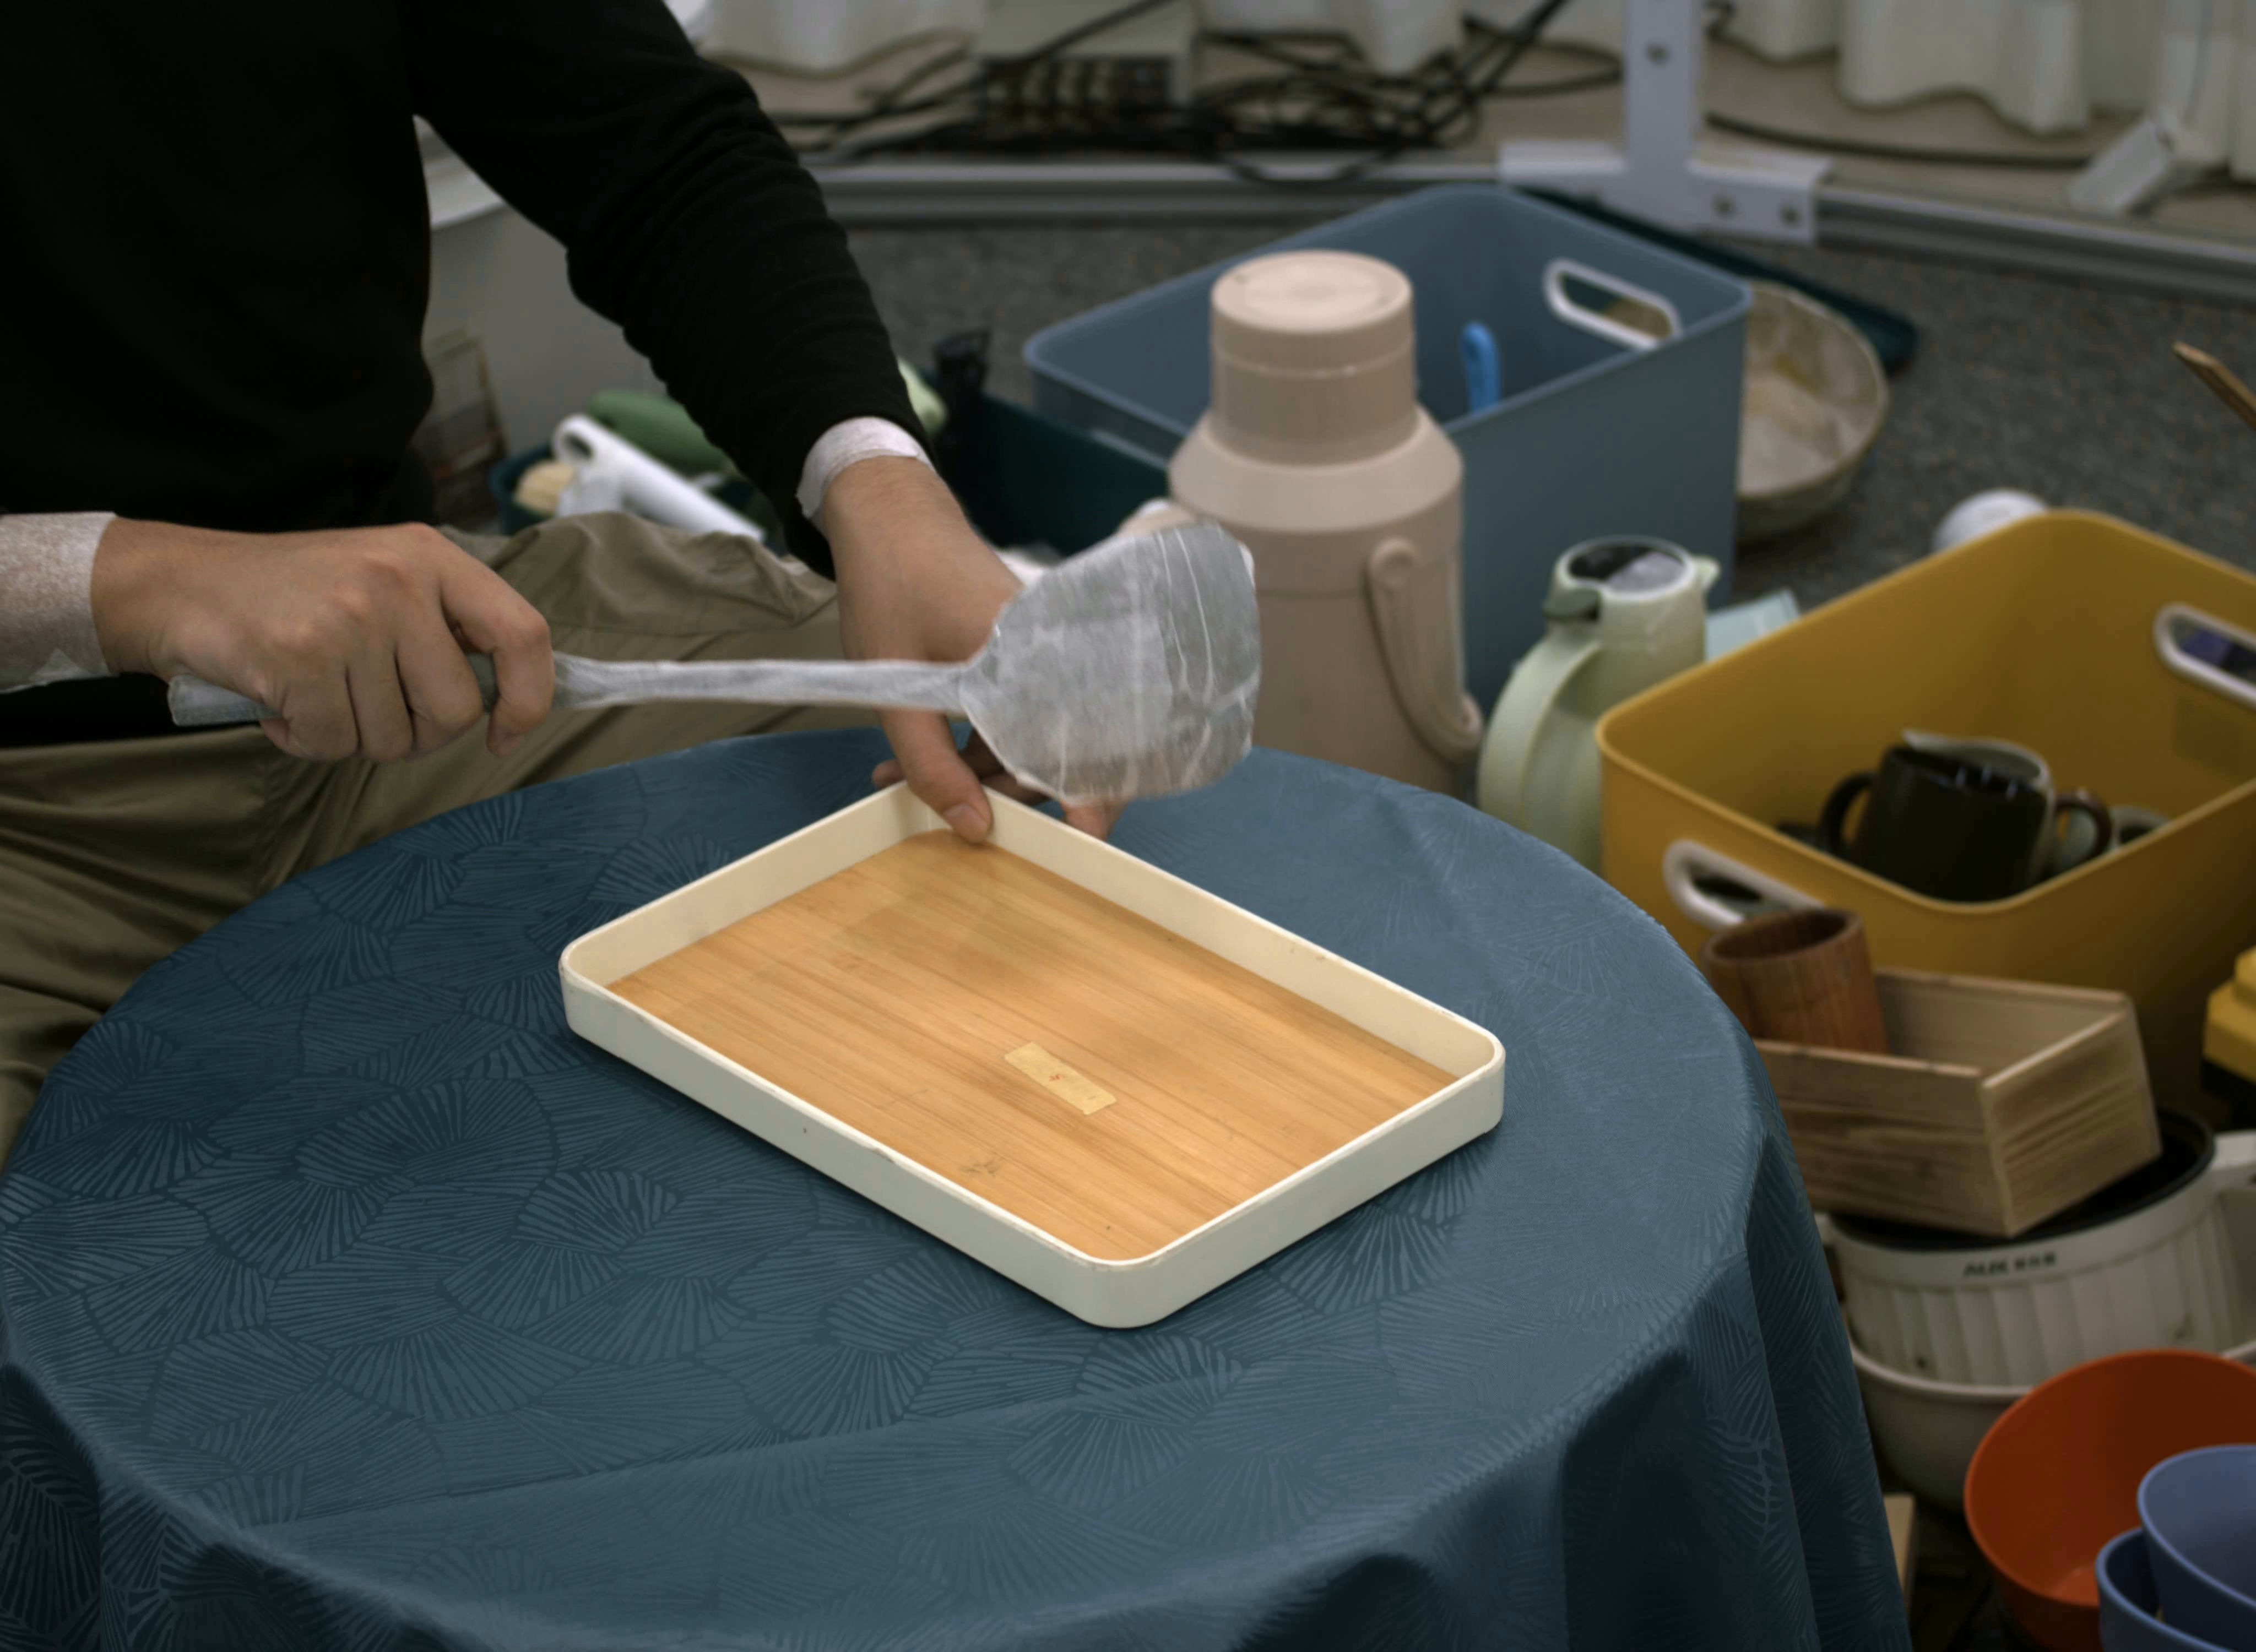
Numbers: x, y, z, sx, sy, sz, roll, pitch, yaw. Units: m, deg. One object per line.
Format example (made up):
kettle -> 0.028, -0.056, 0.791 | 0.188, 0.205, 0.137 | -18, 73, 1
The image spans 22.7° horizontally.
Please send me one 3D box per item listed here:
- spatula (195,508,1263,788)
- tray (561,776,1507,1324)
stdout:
spatula -> -0.135, -0.053, 1.917 | 0.363, 0.098, 0.045 | -2, 22, -1
tray -> -0.035, 0.071, 1.926 | 0.194, 0.027, 0.300 | -26, 36, -36
